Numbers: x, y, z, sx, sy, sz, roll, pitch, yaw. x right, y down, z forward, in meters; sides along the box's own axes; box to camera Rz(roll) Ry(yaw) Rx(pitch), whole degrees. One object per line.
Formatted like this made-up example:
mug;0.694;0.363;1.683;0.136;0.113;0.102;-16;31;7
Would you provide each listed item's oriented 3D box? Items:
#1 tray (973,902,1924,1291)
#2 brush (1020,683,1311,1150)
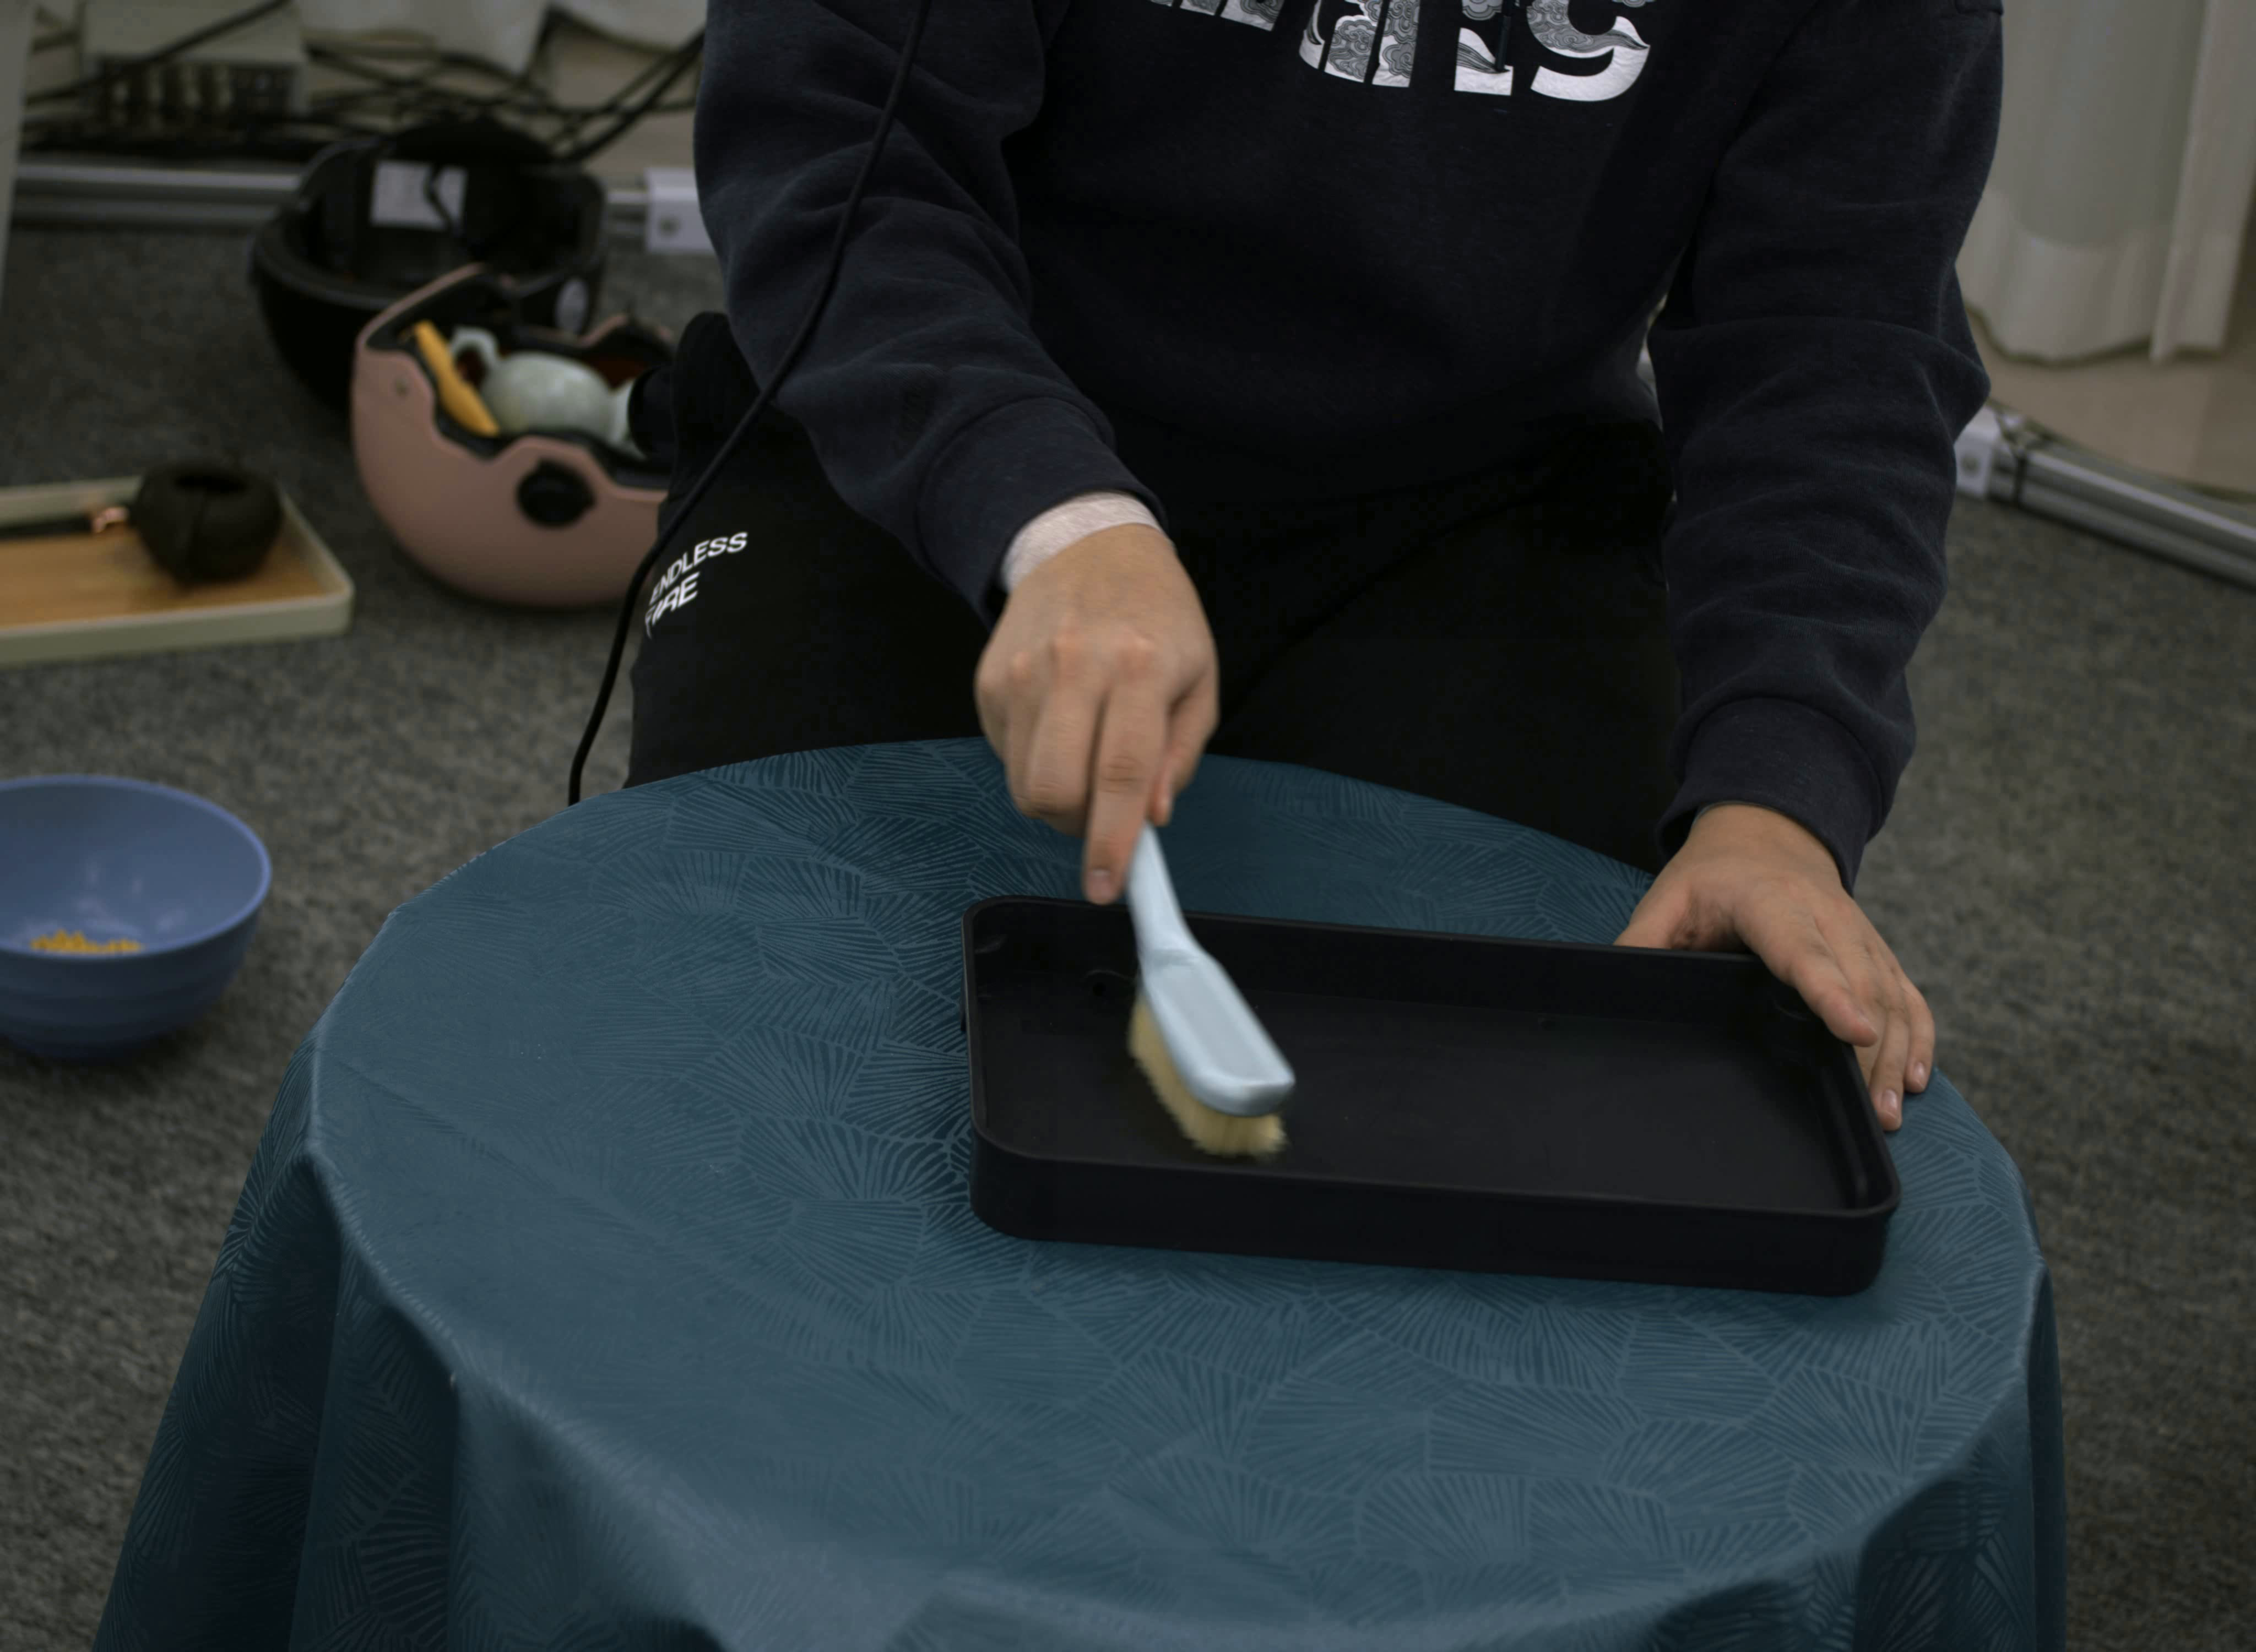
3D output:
tray;0.105;0.093;1.853;0.316;0.037;0.185;4;26;-6
brush;0.008;0.029;1.895;0.037;0.049;0.231;-9;46;-22
